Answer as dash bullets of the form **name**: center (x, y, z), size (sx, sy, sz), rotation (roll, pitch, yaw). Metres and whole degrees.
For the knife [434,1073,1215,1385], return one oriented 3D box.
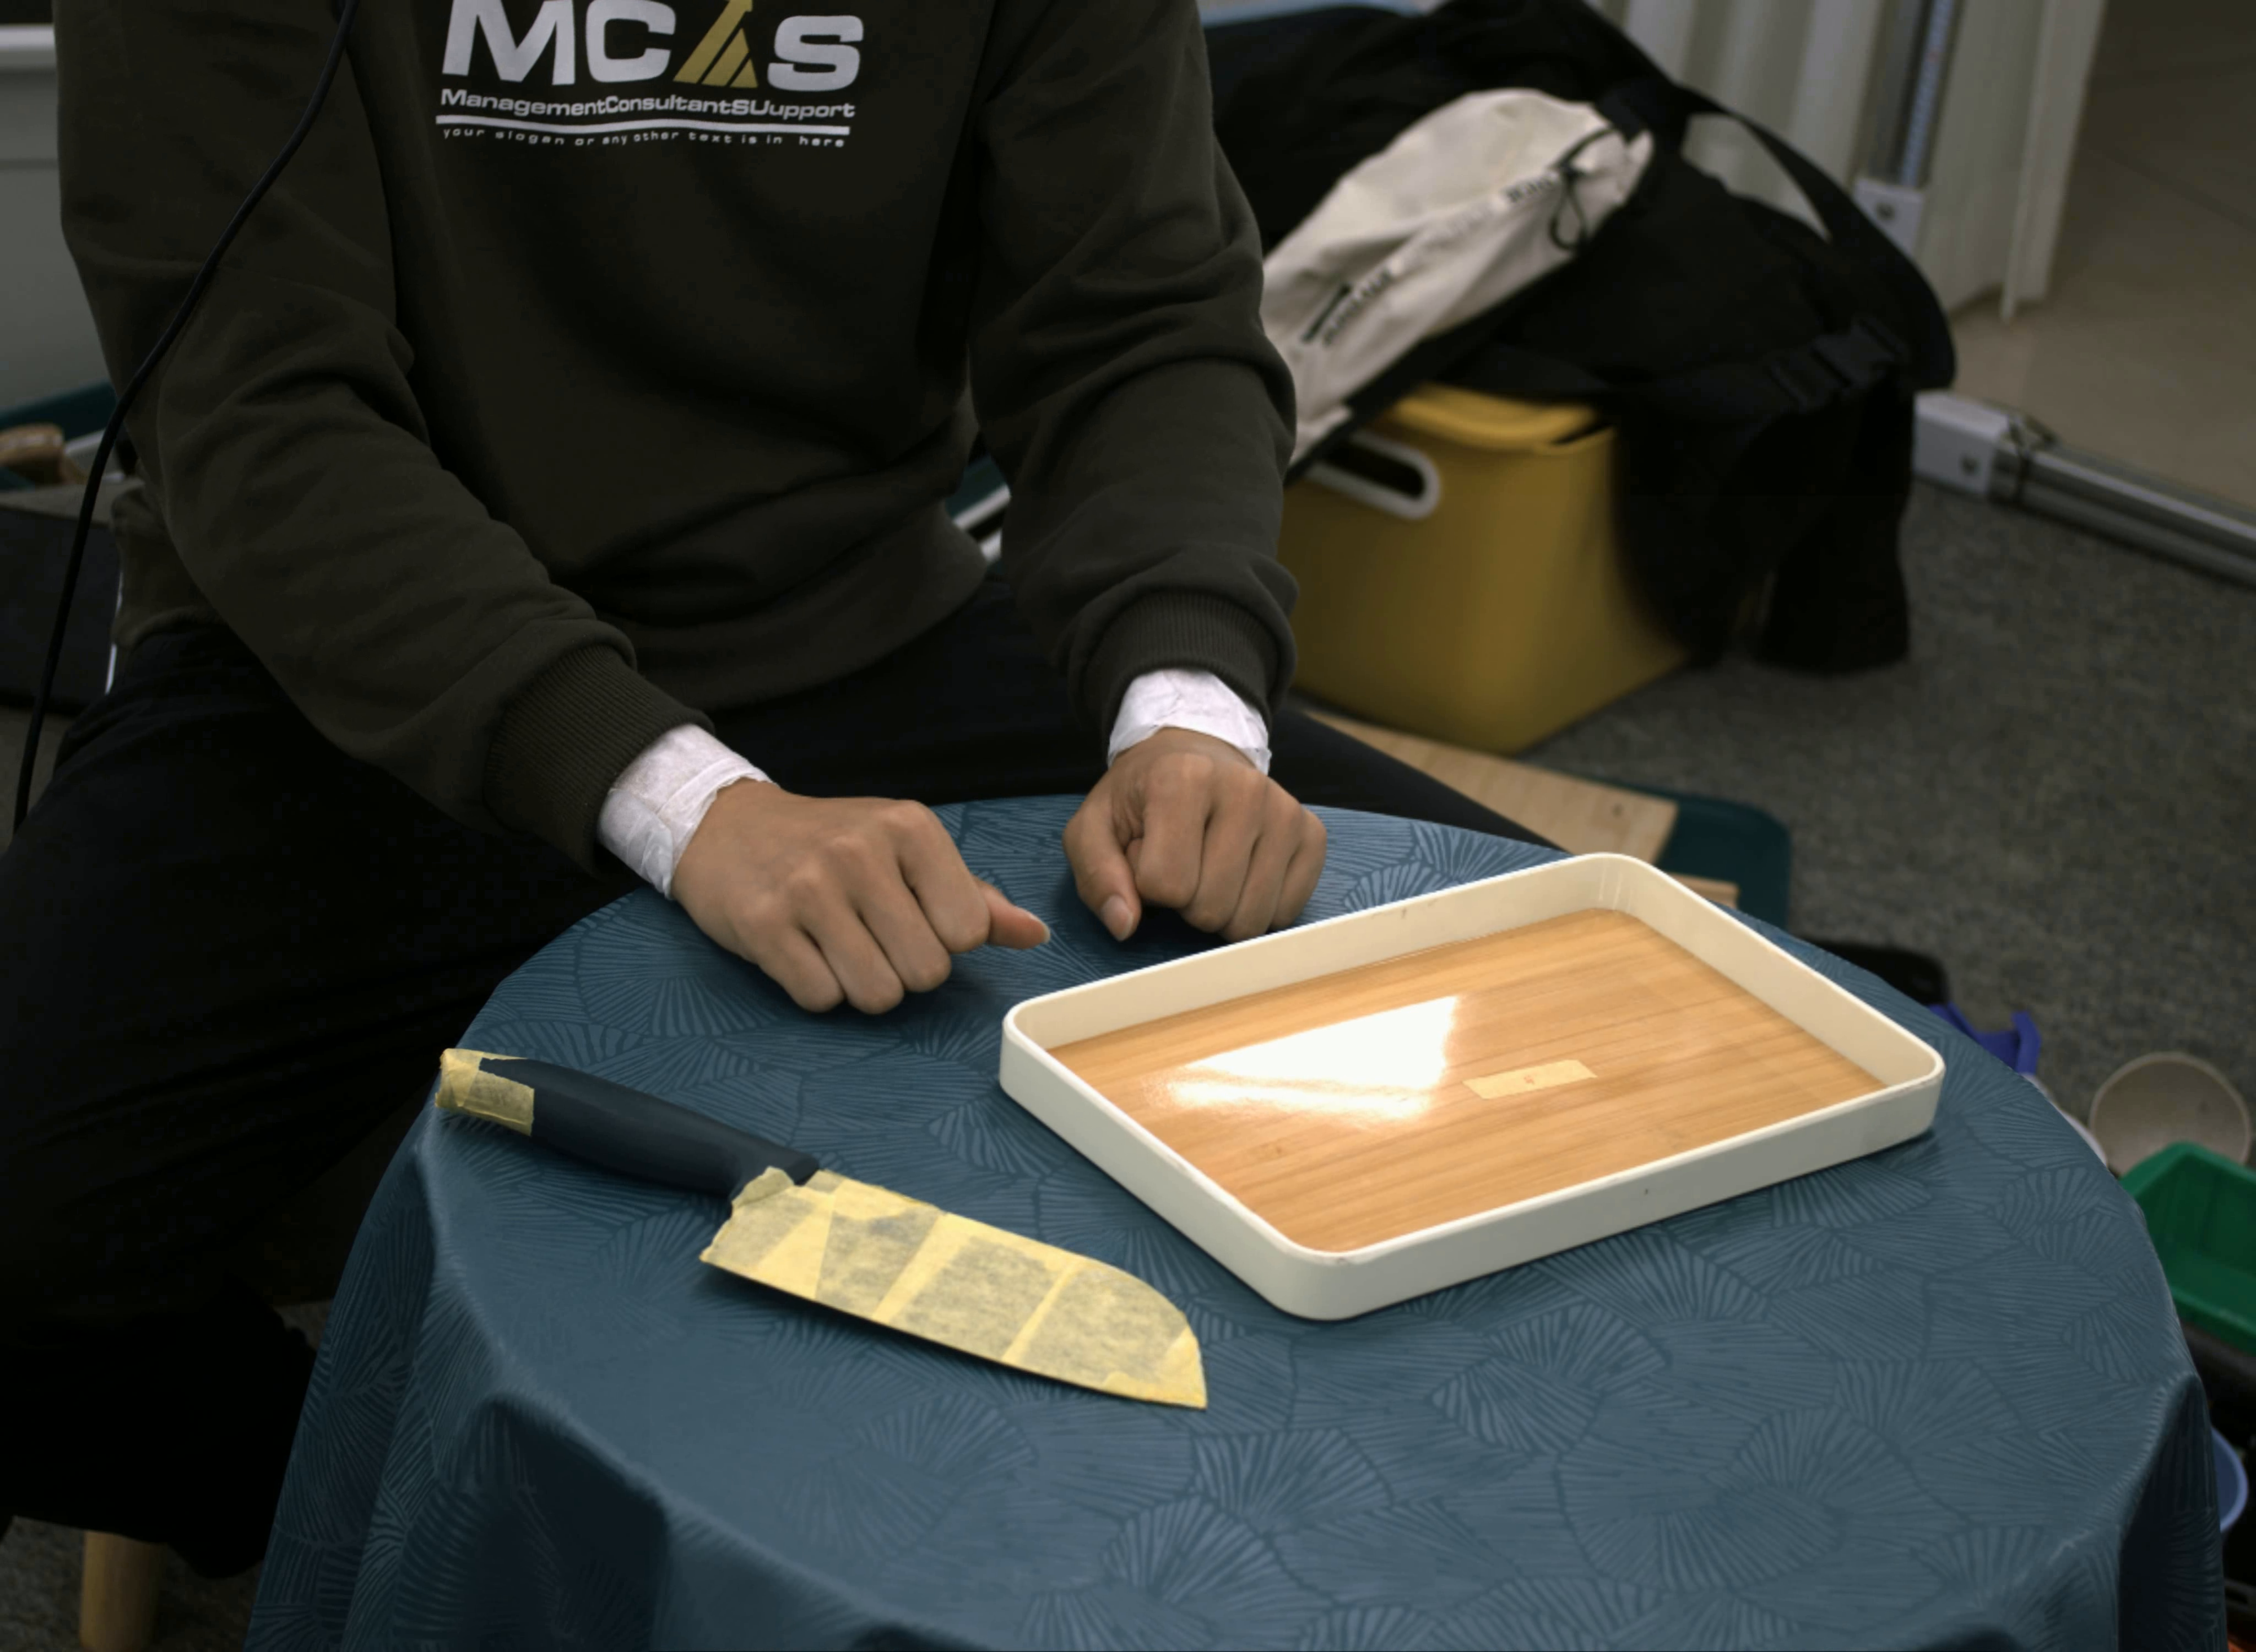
- **knife**: center (-0.105, 0.134, 1.745), size (0.290, 0.027, 0.081), rotation (17, 26, 17)

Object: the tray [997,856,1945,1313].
- **tray**: center (0.122, 0.086, 1.878), size (0.298, 0.027, 0.193), rotation (-13, 32, -34)
